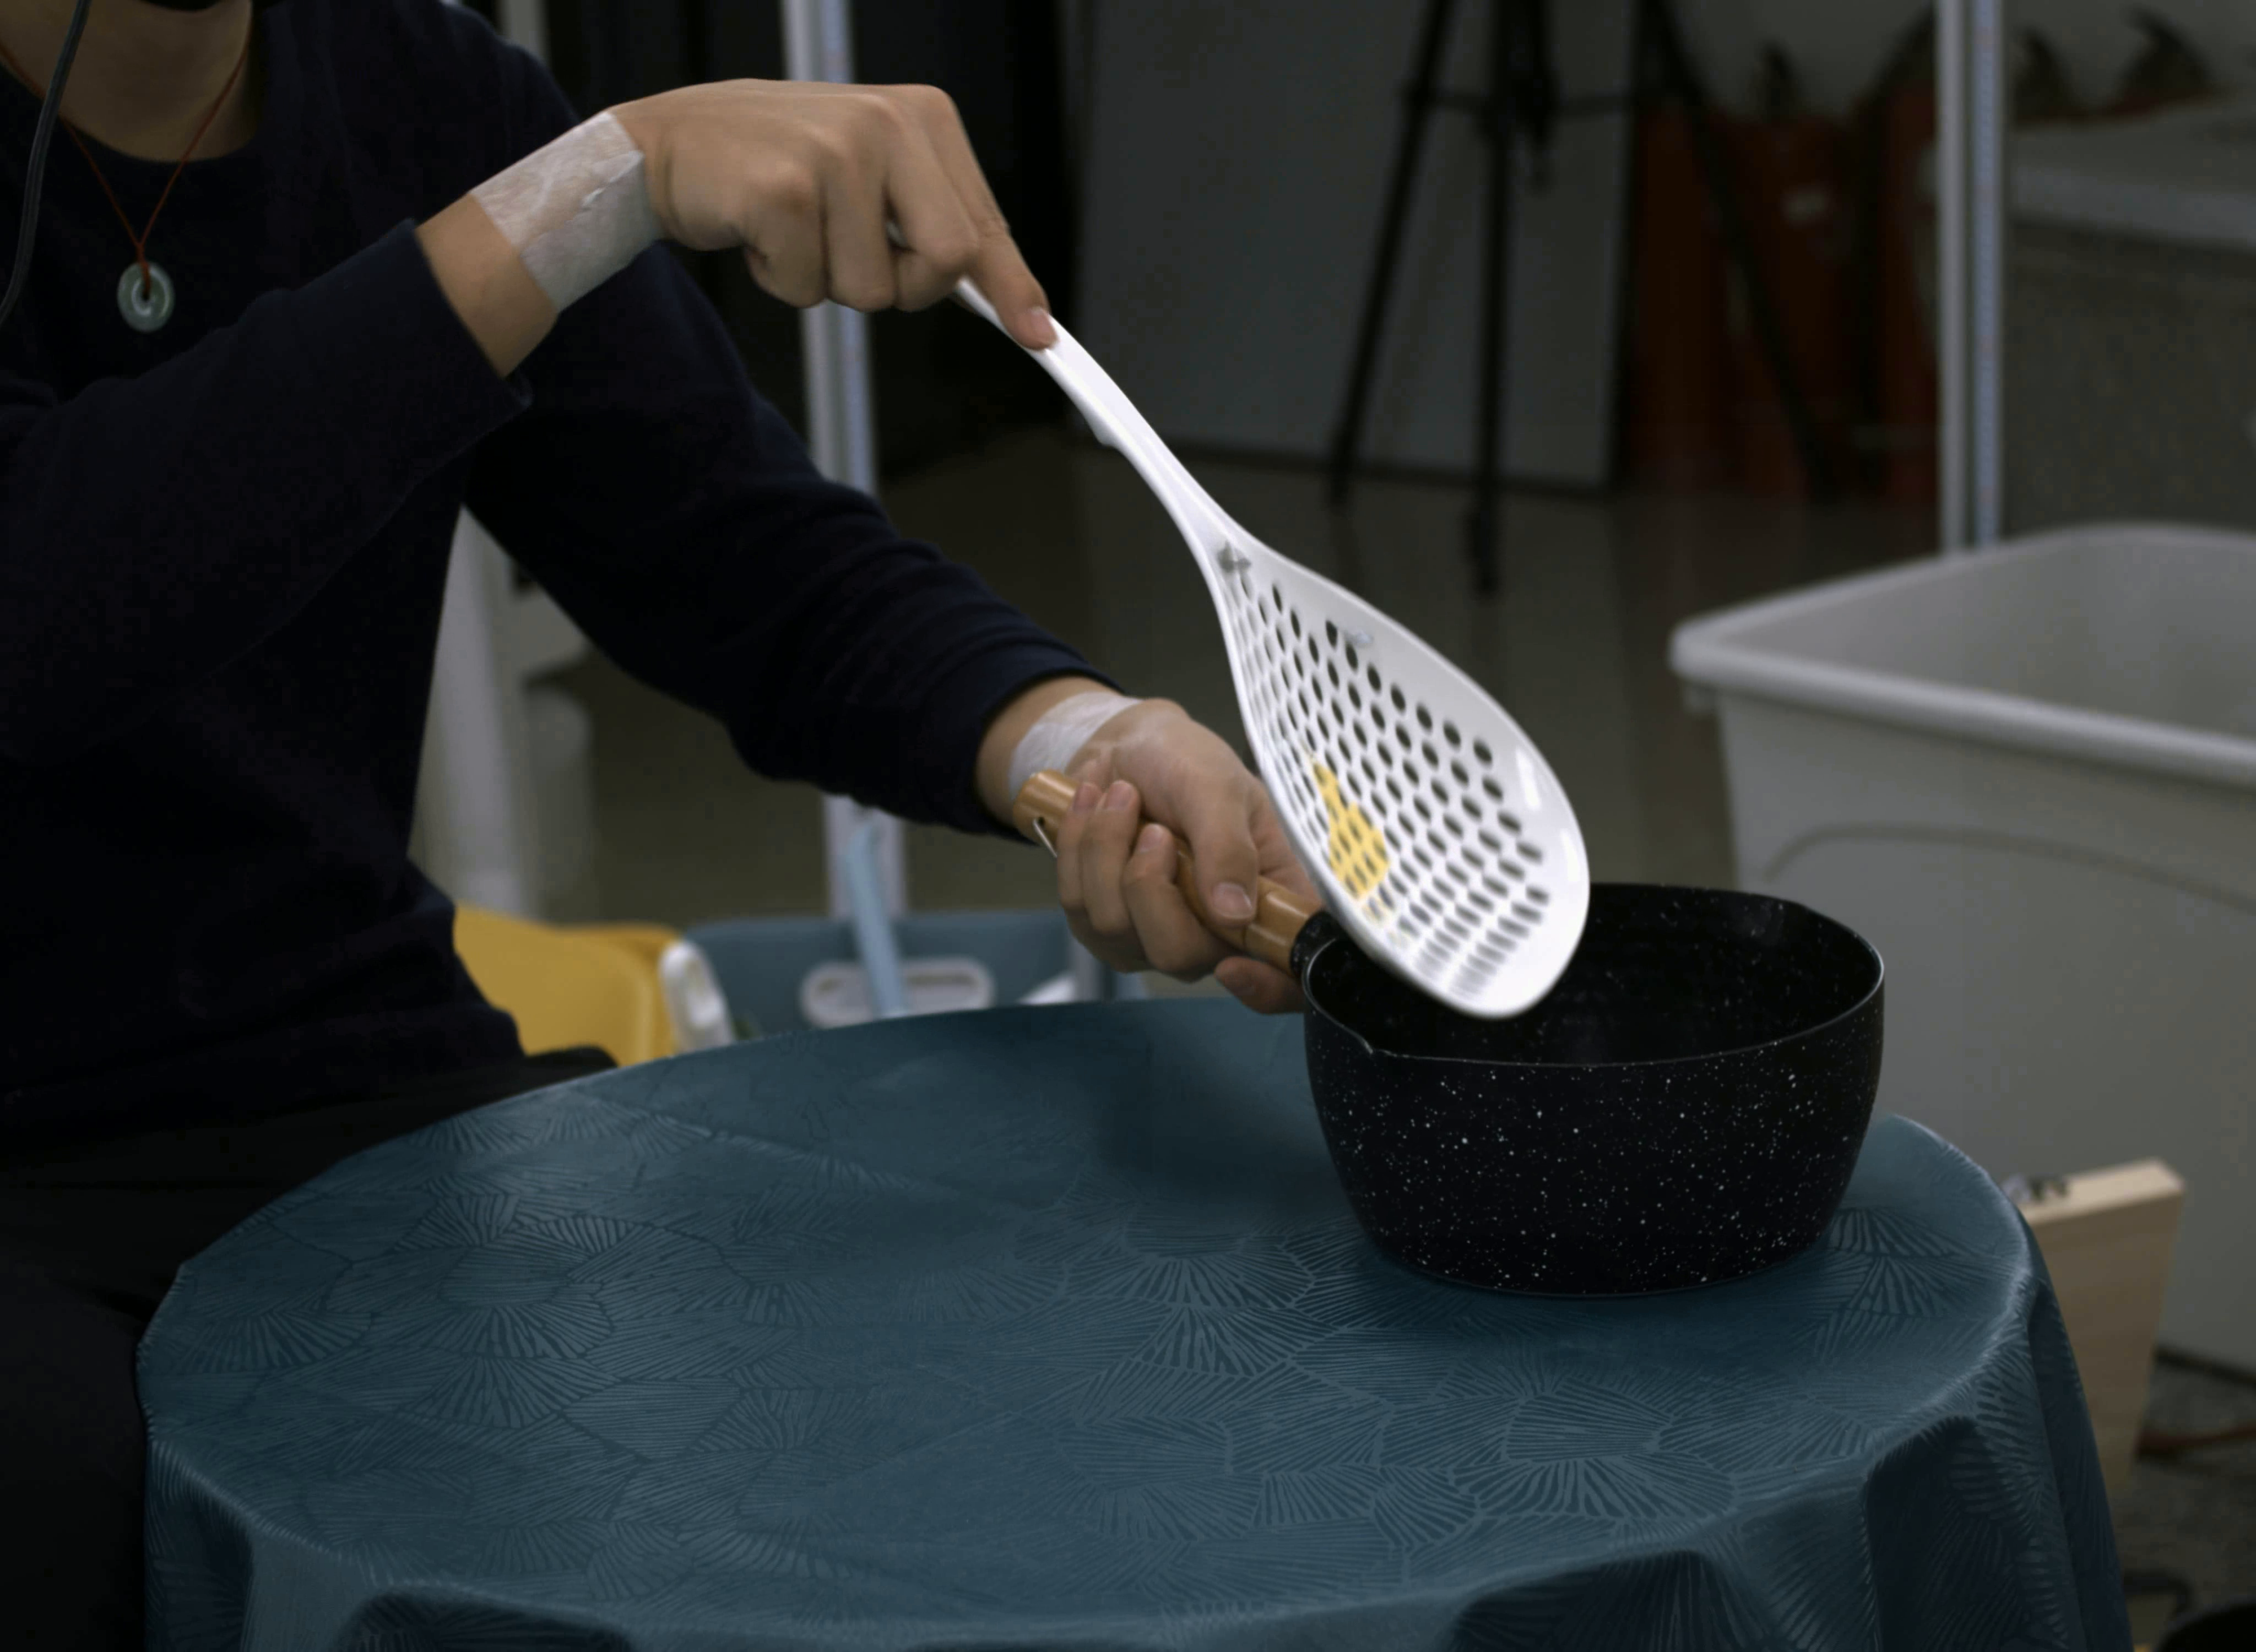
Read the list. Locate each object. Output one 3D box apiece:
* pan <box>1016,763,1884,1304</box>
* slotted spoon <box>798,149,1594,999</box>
[{"bbox_3d":[0.089,0.060,1.747,0.346,0.109,0.203,13,23,42],"label":"pan"},{"bbox_3d":[0.022,-0.087,1.711,0.051,0.347,0.136,-29,13,39],"label":"slotted spoon"}]
